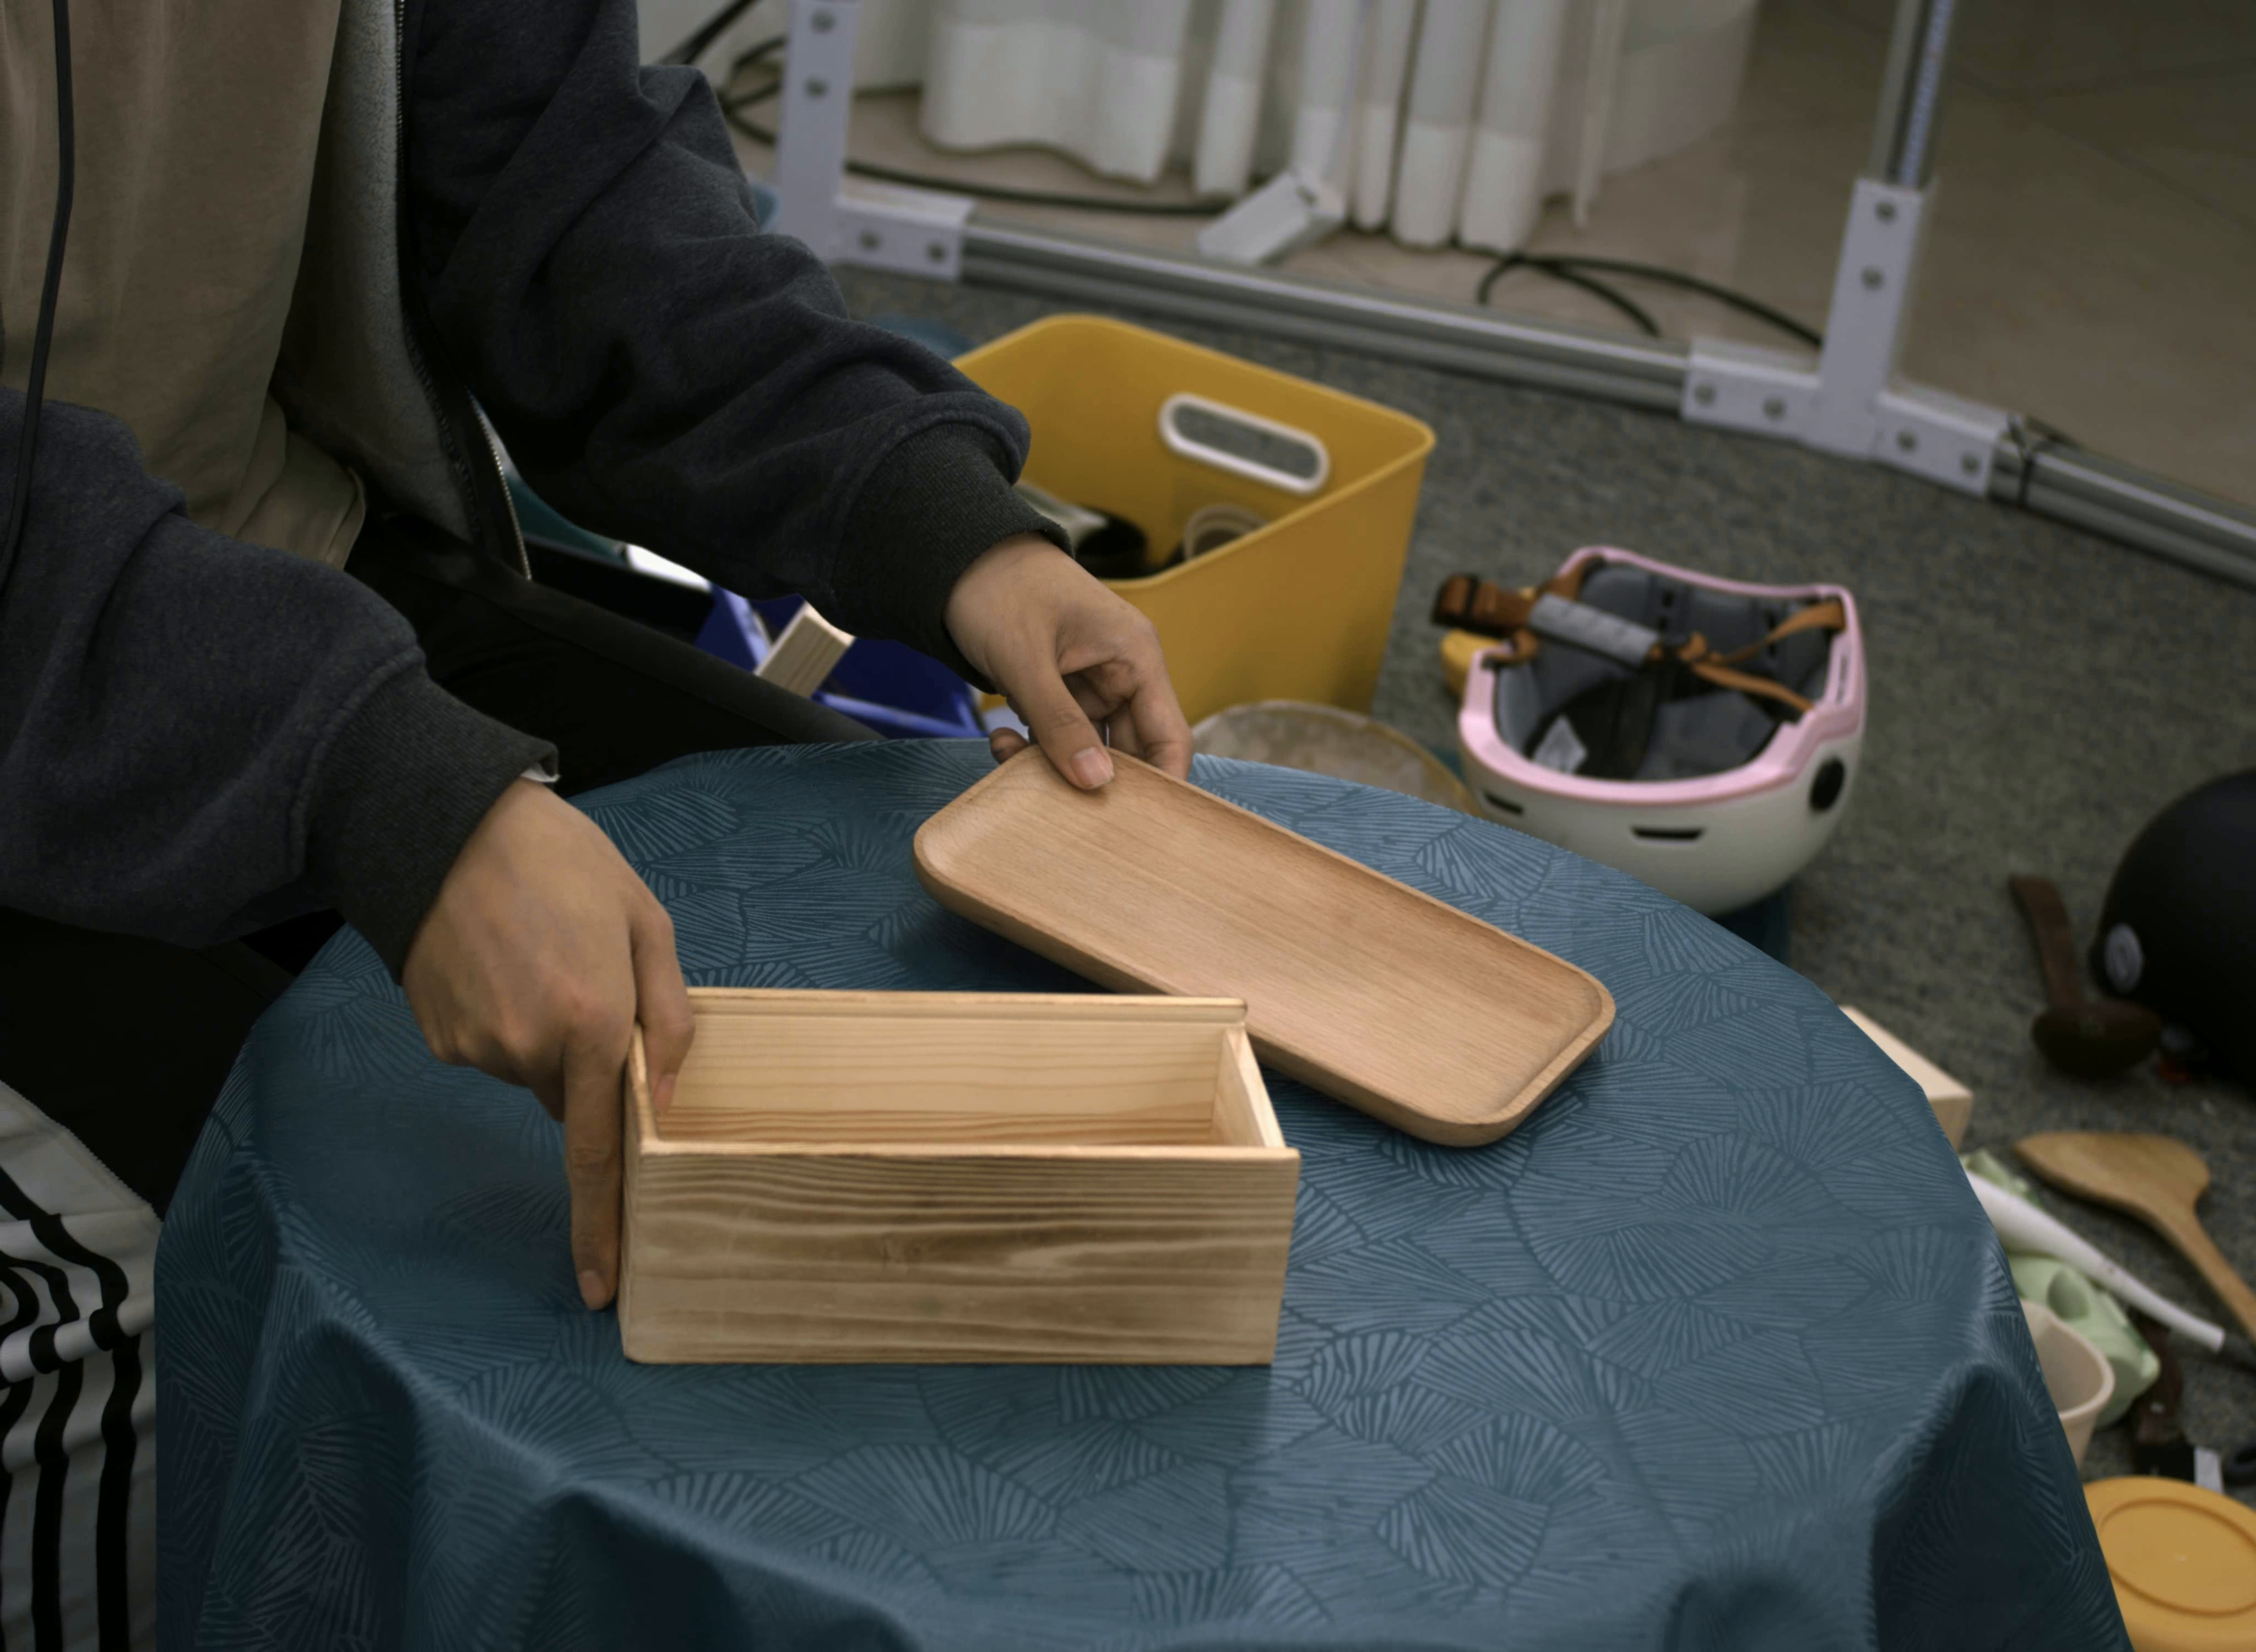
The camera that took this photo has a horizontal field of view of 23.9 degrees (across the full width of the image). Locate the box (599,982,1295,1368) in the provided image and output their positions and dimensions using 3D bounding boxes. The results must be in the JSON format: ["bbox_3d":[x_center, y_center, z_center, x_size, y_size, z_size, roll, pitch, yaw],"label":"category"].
[{"bbox_3d":[-0.061,0.113,1.722,0.210,0.080,0.108,1,27,-10],"label":"box"}]

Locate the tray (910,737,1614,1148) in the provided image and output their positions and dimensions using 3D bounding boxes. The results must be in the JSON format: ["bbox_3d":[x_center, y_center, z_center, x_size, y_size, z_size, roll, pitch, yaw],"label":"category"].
[{"bbox_3d":[0.047,0.041,1.925,0.252,0.023,0.130,25,32,22],"label":"tray"}]
